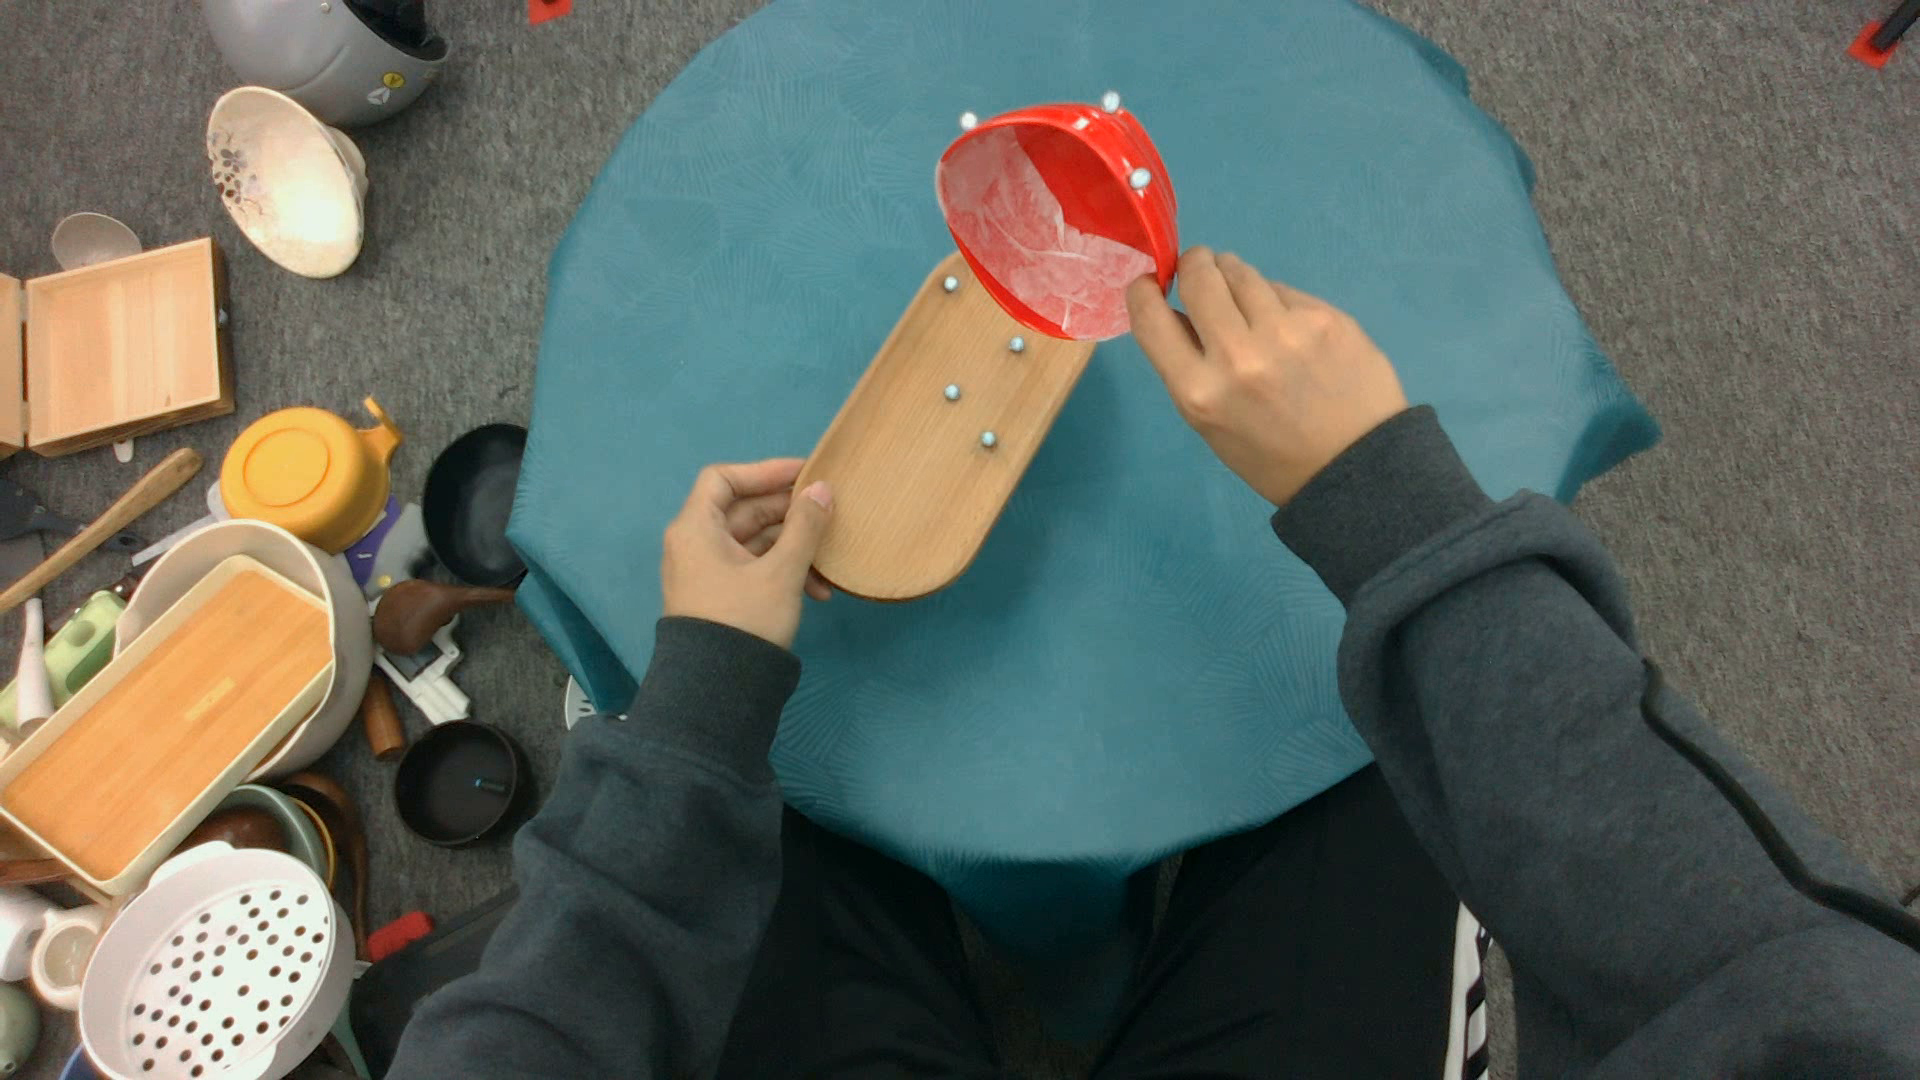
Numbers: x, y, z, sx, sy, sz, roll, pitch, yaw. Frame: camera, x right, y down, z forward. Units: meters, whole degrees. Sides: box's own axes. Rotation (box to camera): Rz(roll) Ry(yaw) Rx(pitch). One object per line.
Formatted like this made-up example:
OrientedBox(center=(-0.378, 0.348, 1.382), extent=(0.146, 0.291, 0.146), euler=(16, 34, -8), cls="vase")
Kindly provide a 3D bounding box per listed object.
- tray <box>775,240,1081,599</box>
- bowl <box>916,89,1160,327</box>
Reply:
OrientedBox(center=(-0.013, -0.070, 0.722), extent=(0.101, 0.020, 0.232), euler=(24, 67, 9), cls="tray")
OrientedBox(center=(0.043, -0.154, 0.611), extent=(0.119, 0.118, 0.051), euler=(31, 57, 13), cls="bowl")
